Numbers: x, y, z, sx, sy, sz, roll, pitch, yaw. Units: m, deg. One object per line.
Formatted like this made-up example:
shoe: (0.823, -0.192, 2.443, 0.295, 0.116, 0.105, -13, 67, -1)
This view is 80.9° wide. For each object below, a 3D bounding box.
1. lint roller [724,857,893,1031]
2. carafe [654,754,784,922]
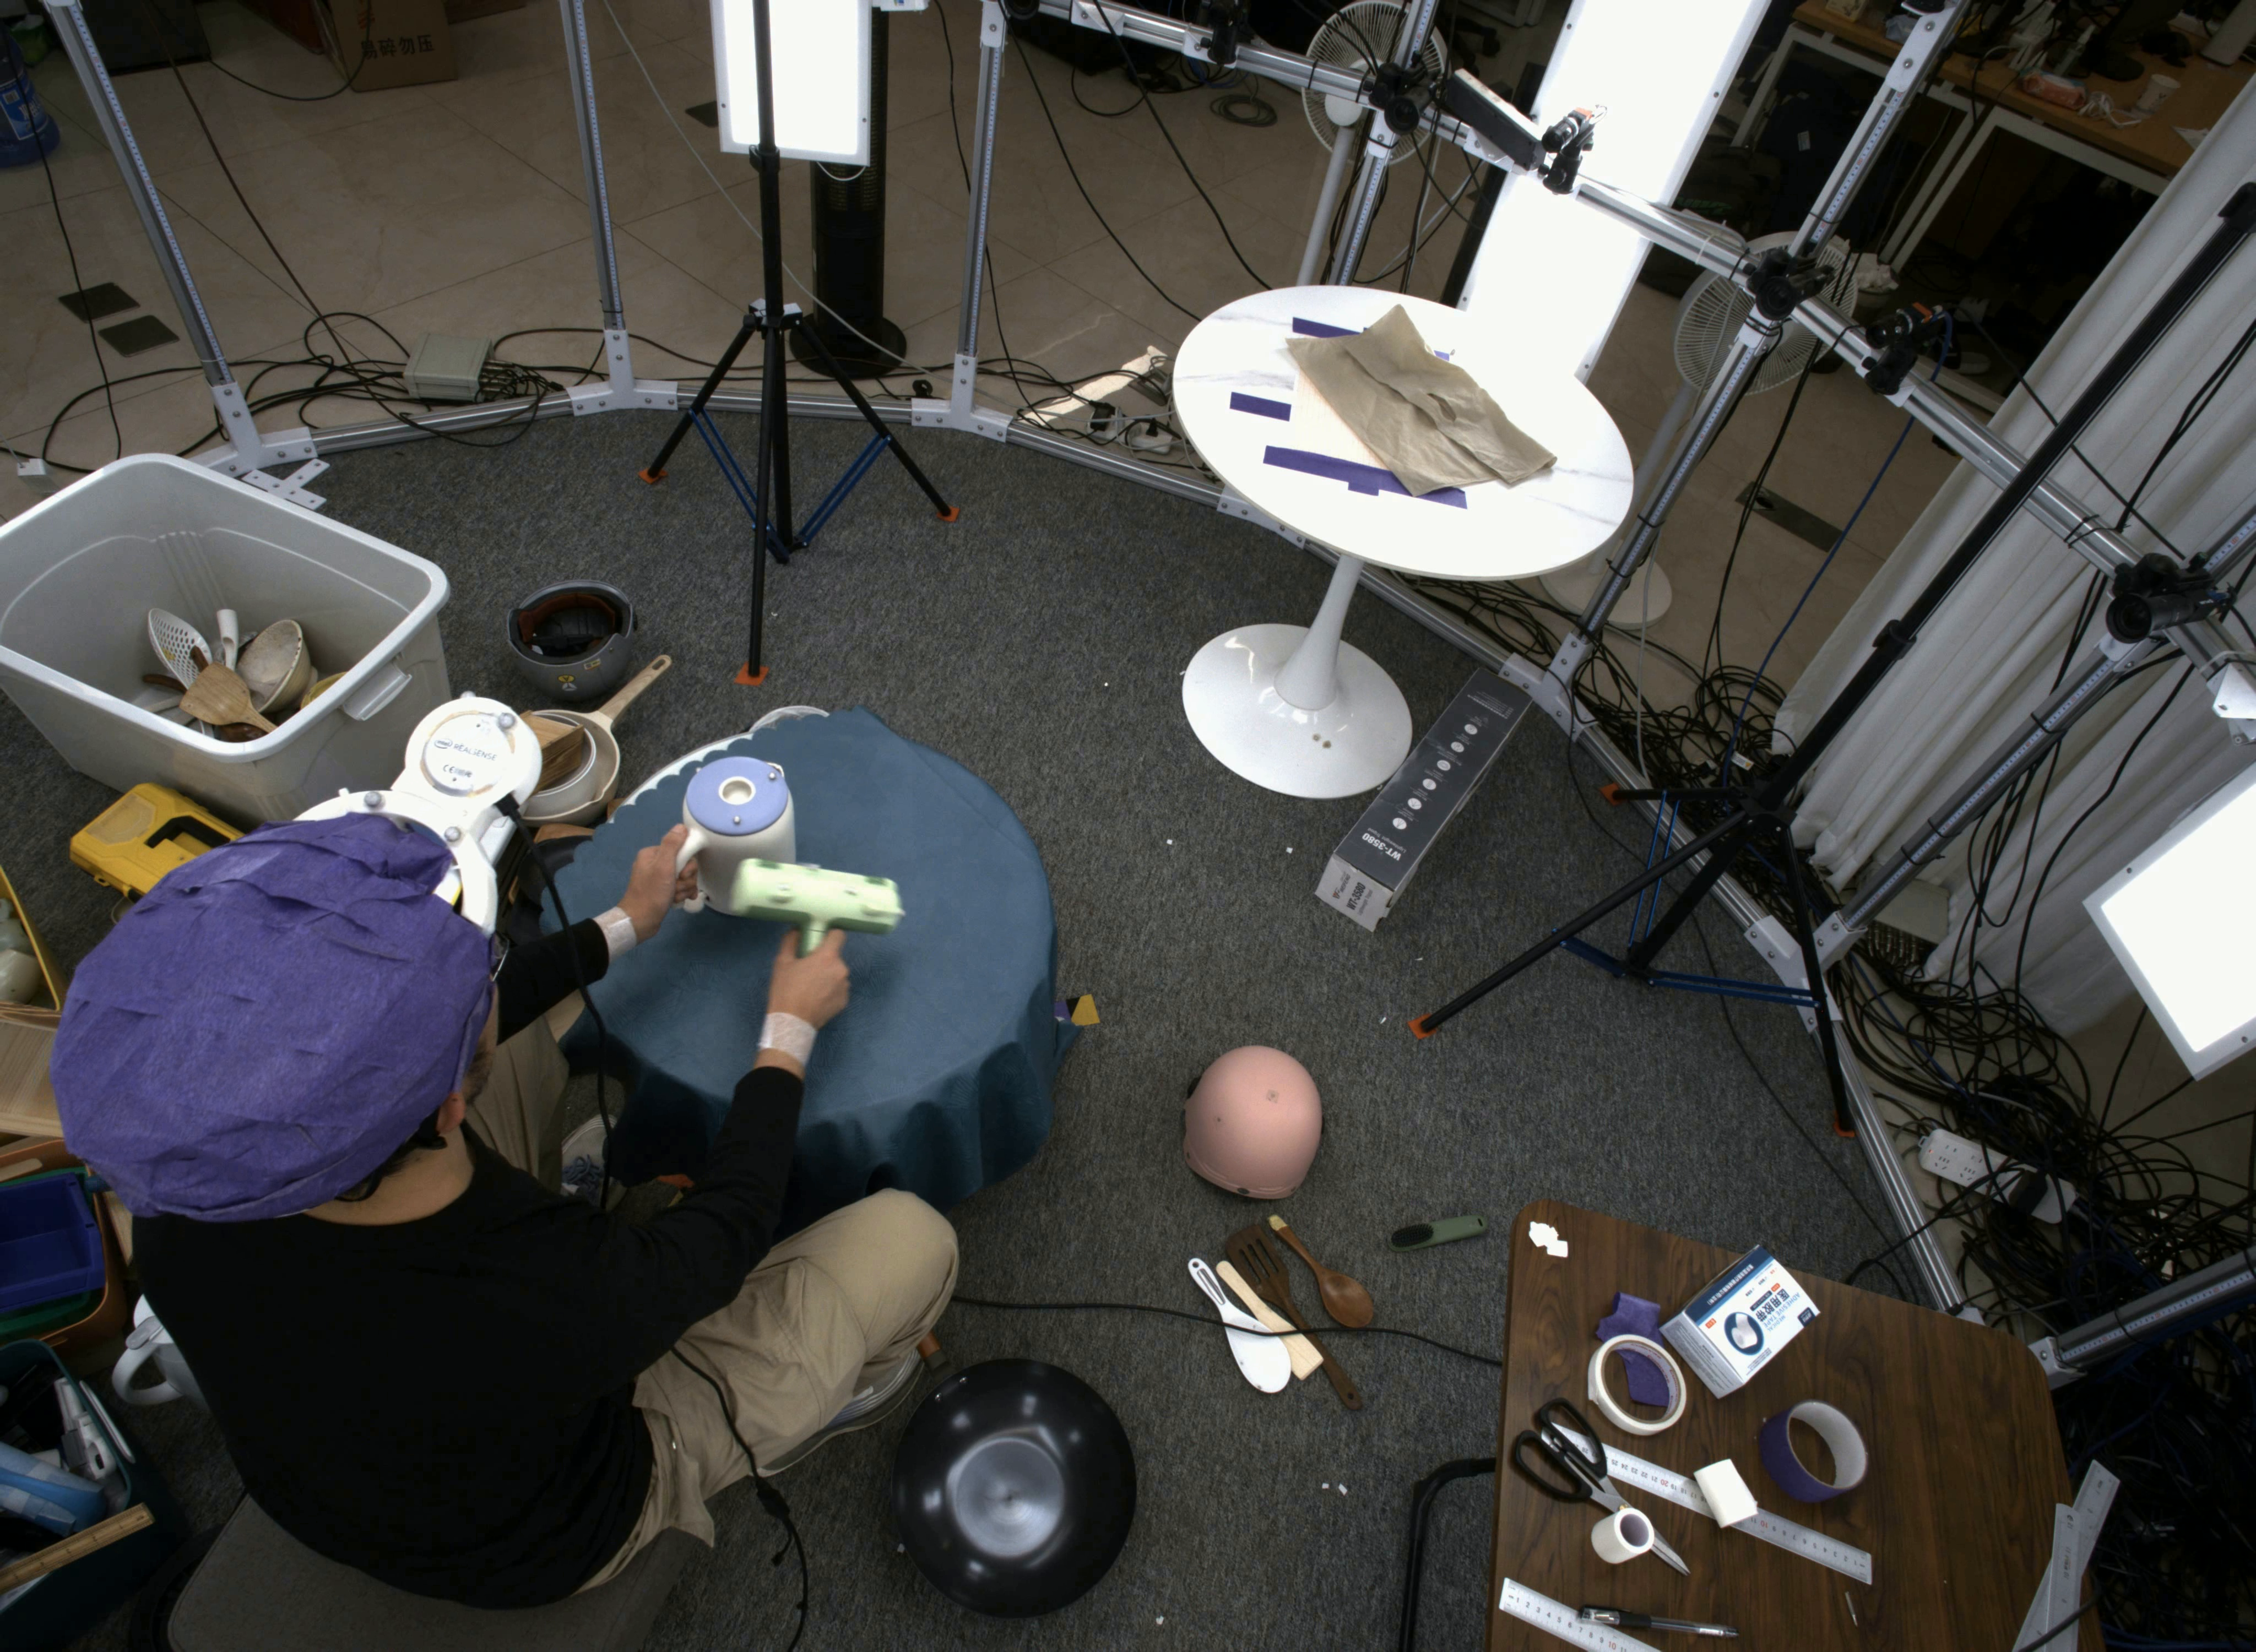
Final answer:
lint roller: (-0.368, 0.138, 1.504, 0.203, 0.080, 0.182, 12, 69, -37)
carafe: (-0.504, 0.028, 1.565, 0.130, 0.186, 0.190, 31, 54, 13)
